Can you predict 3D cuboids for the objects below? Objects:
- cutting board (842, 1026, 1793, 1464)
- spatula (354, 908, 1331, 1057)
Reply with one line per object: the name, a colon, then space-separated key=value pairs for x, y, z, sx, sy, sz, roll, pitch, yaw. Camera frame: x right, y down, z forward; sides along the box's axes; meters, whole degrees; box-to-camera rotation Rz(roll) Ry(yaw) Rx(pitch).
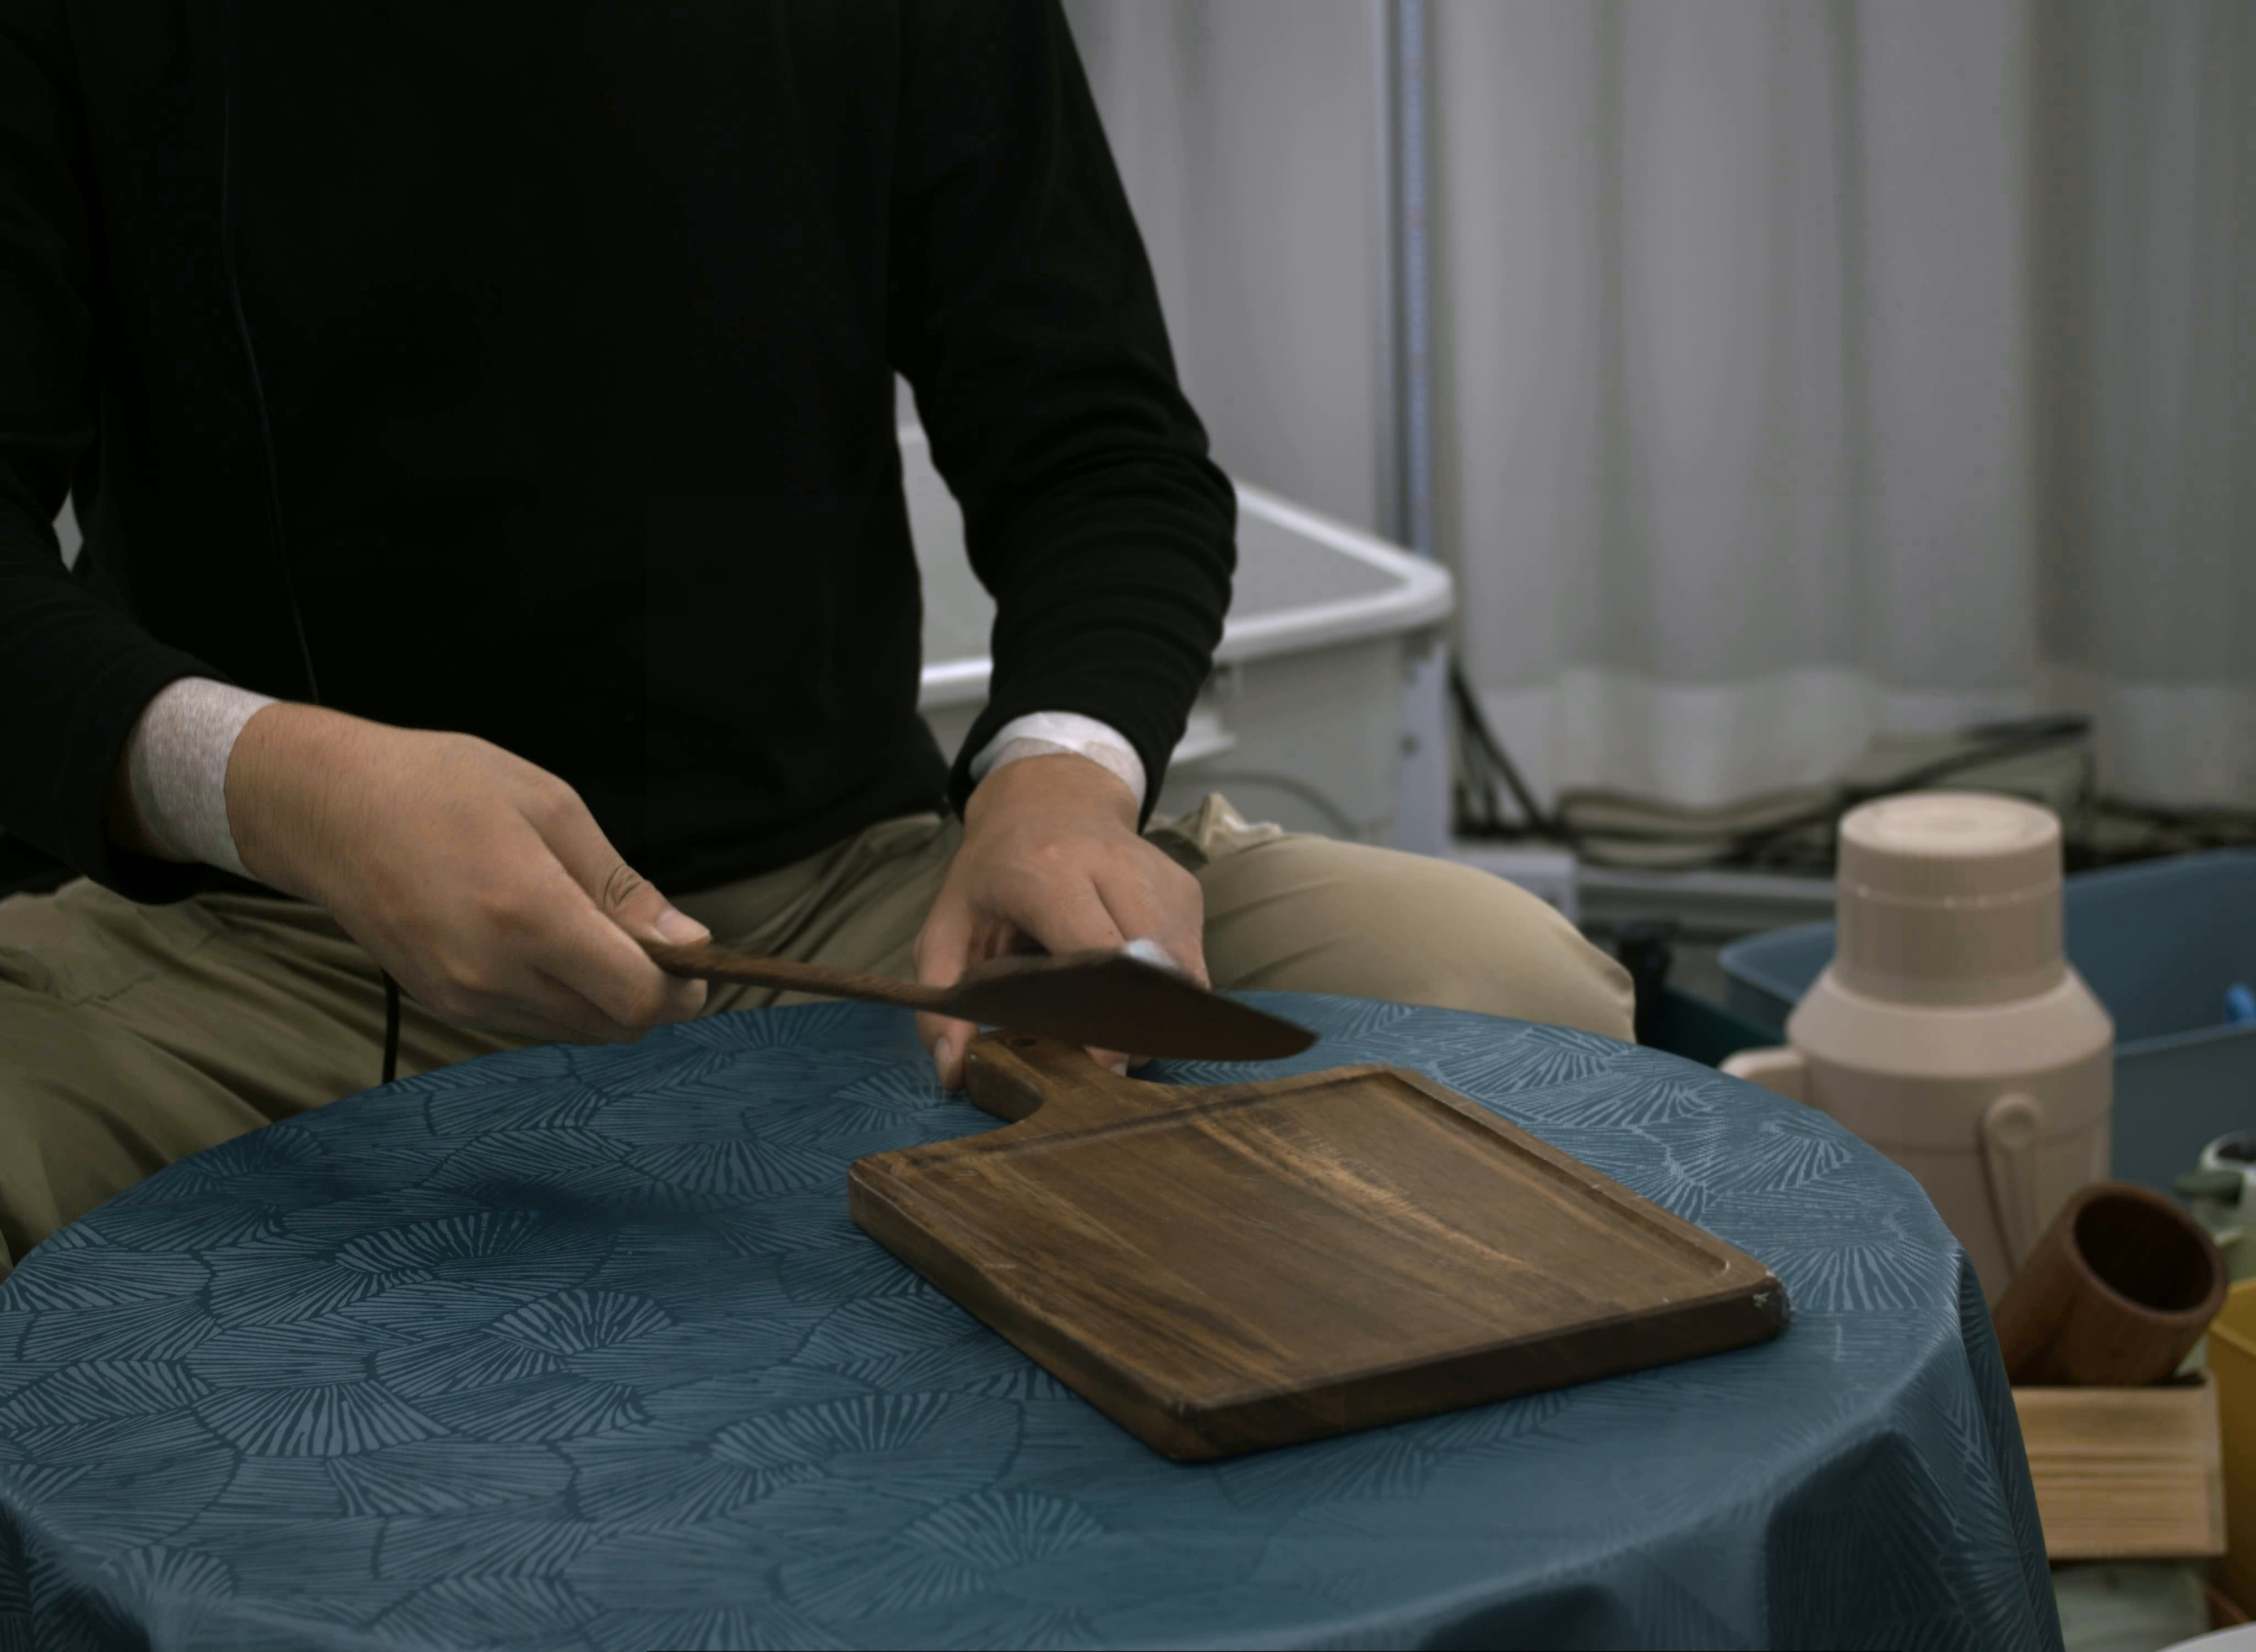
cutting board: x=0.030 y=0.114 z=1.671 sx=0.200 sy=0.023 sz=0.355 roll=-9 pitch=16 yaw=-23
spatula: x=-0.104 y=0.043 z=1.652 sx=0.387 sy=0.016 sz=0.095 roll=4 pitch=-17 yaw=42
